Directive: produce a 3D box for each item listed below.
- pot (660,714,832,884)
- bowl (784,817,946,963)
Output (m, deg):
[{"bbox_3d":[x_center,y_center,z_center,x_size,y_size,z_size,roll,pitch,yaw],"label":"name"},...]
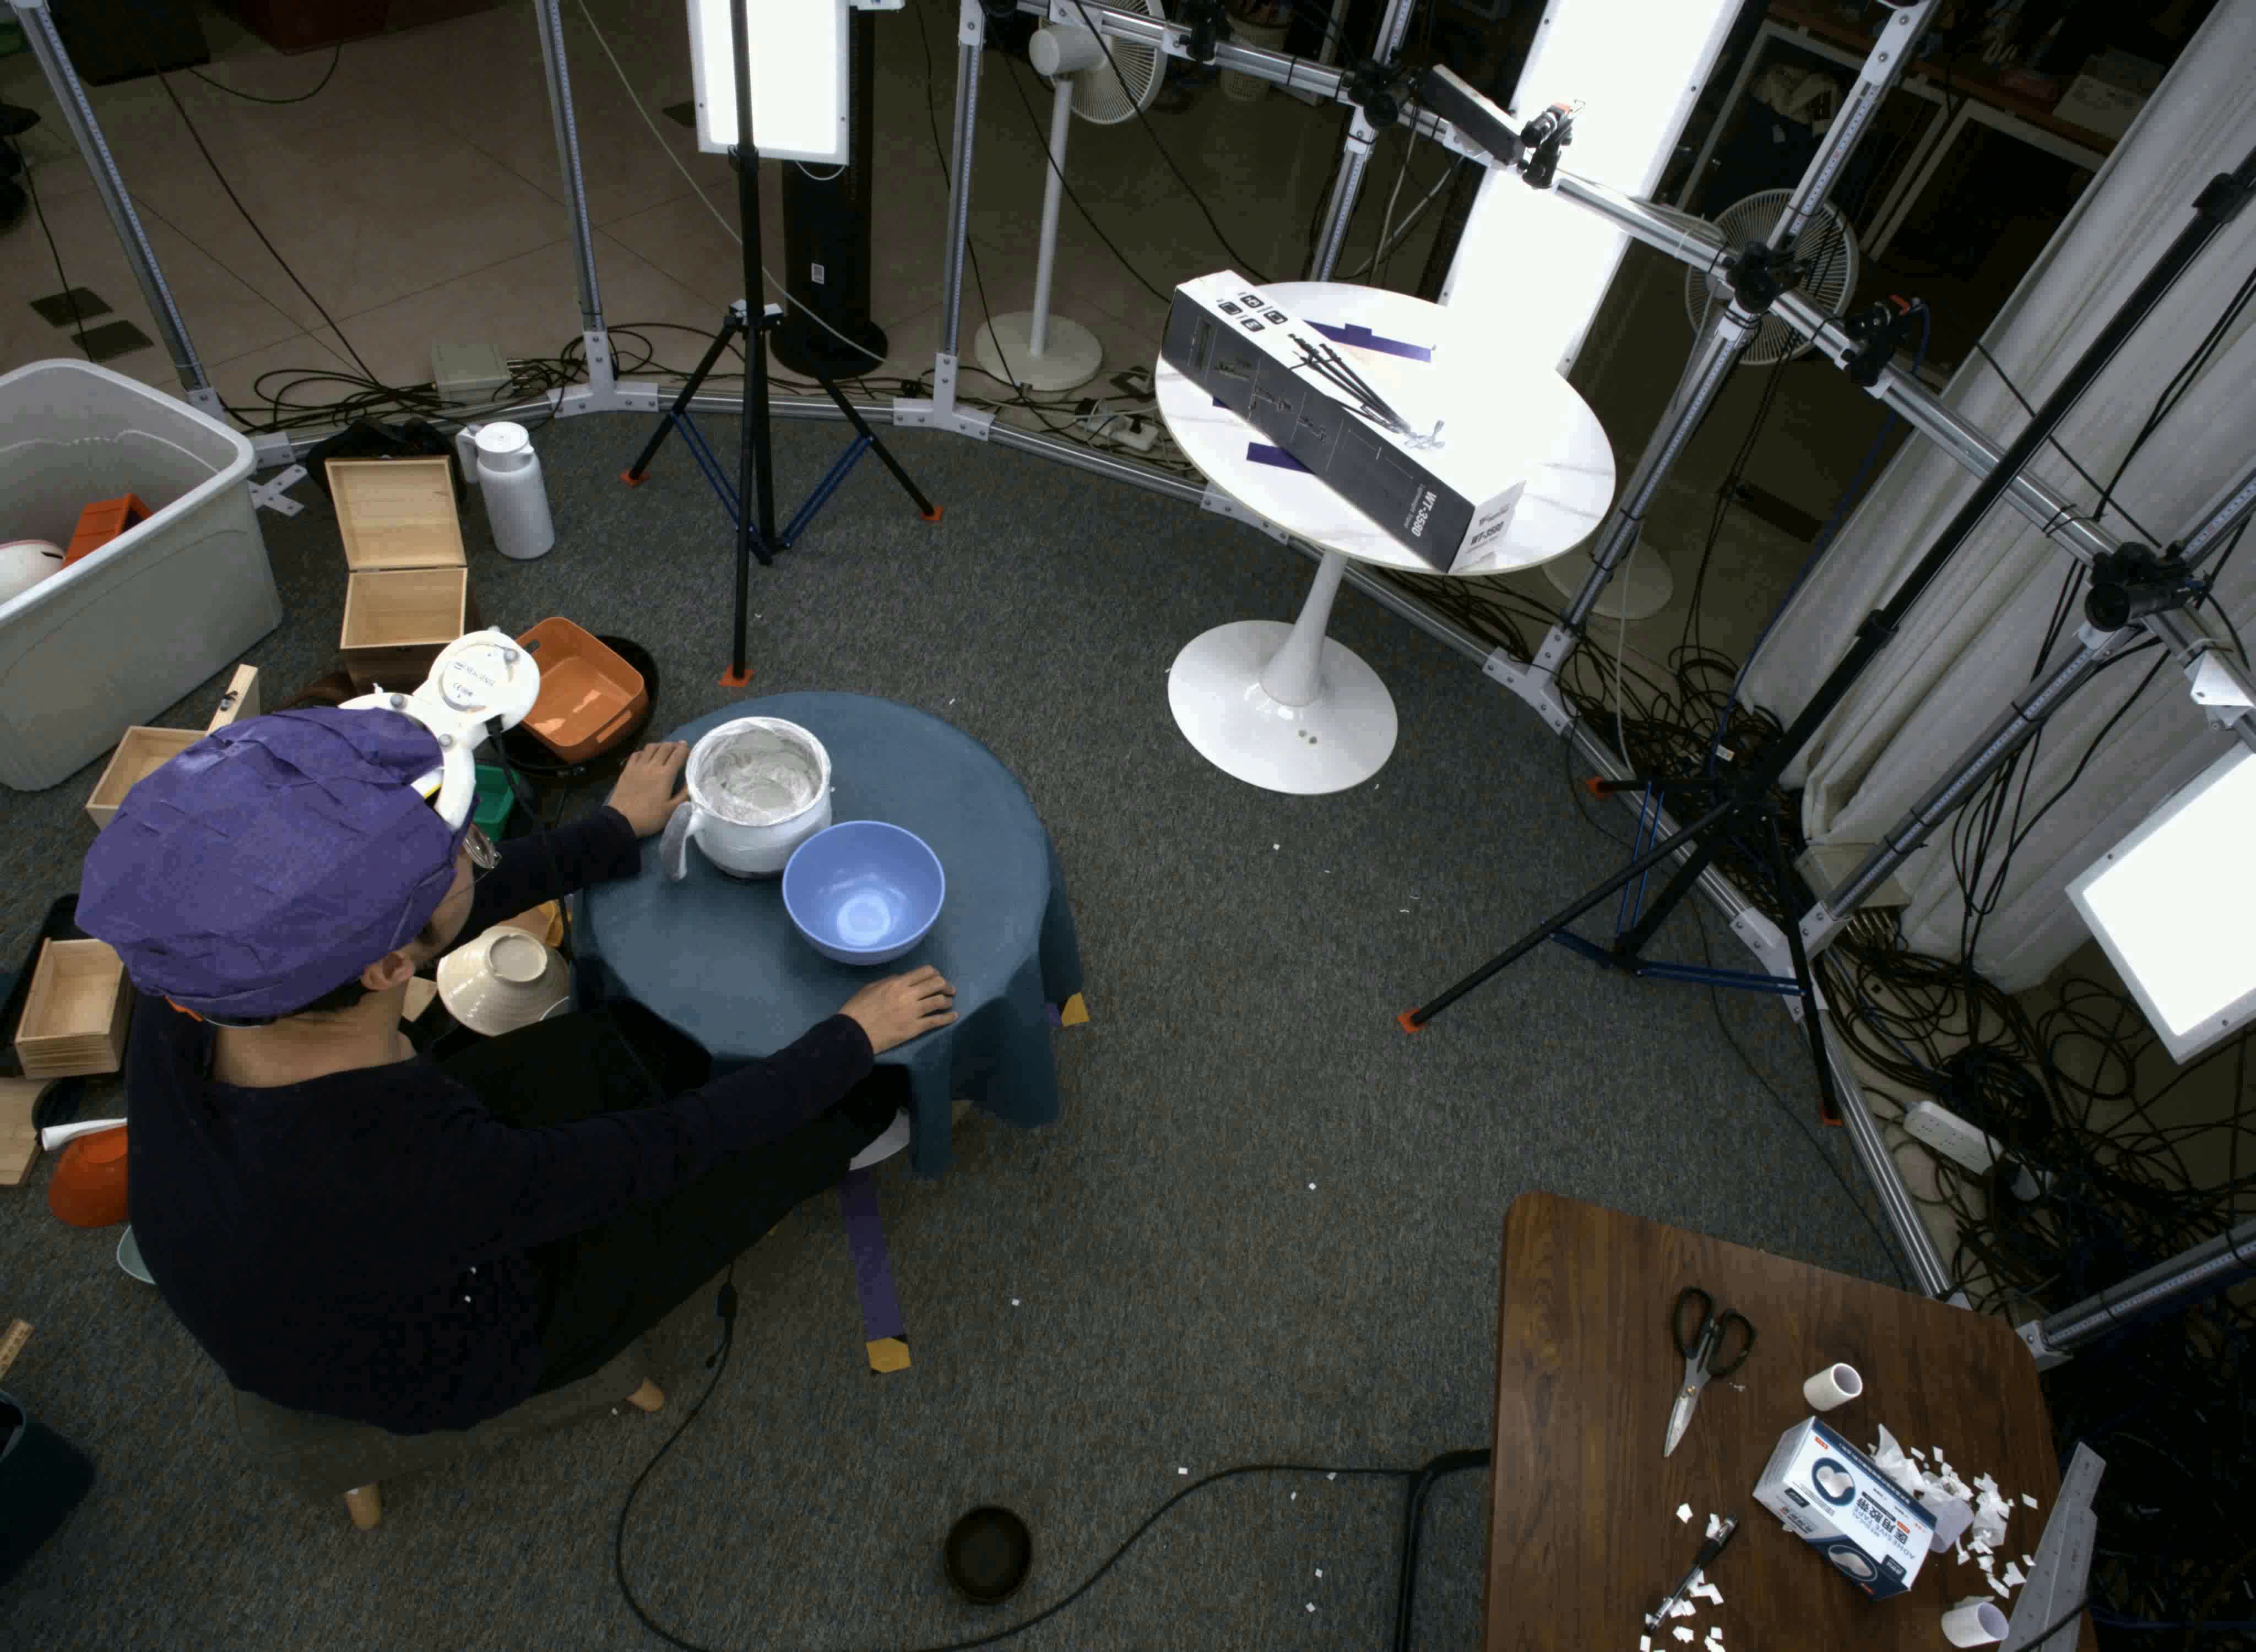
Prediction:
[{"bbox_3d":[-0.490,-0.021,1.644,0.174,0.140,0.234,40,54,21],"label":"pot"},{"bbox_3d":[-0.330,0.094,1.623,0.197,0.097,0.193,10,49,-11],"label":"bowl"}]
